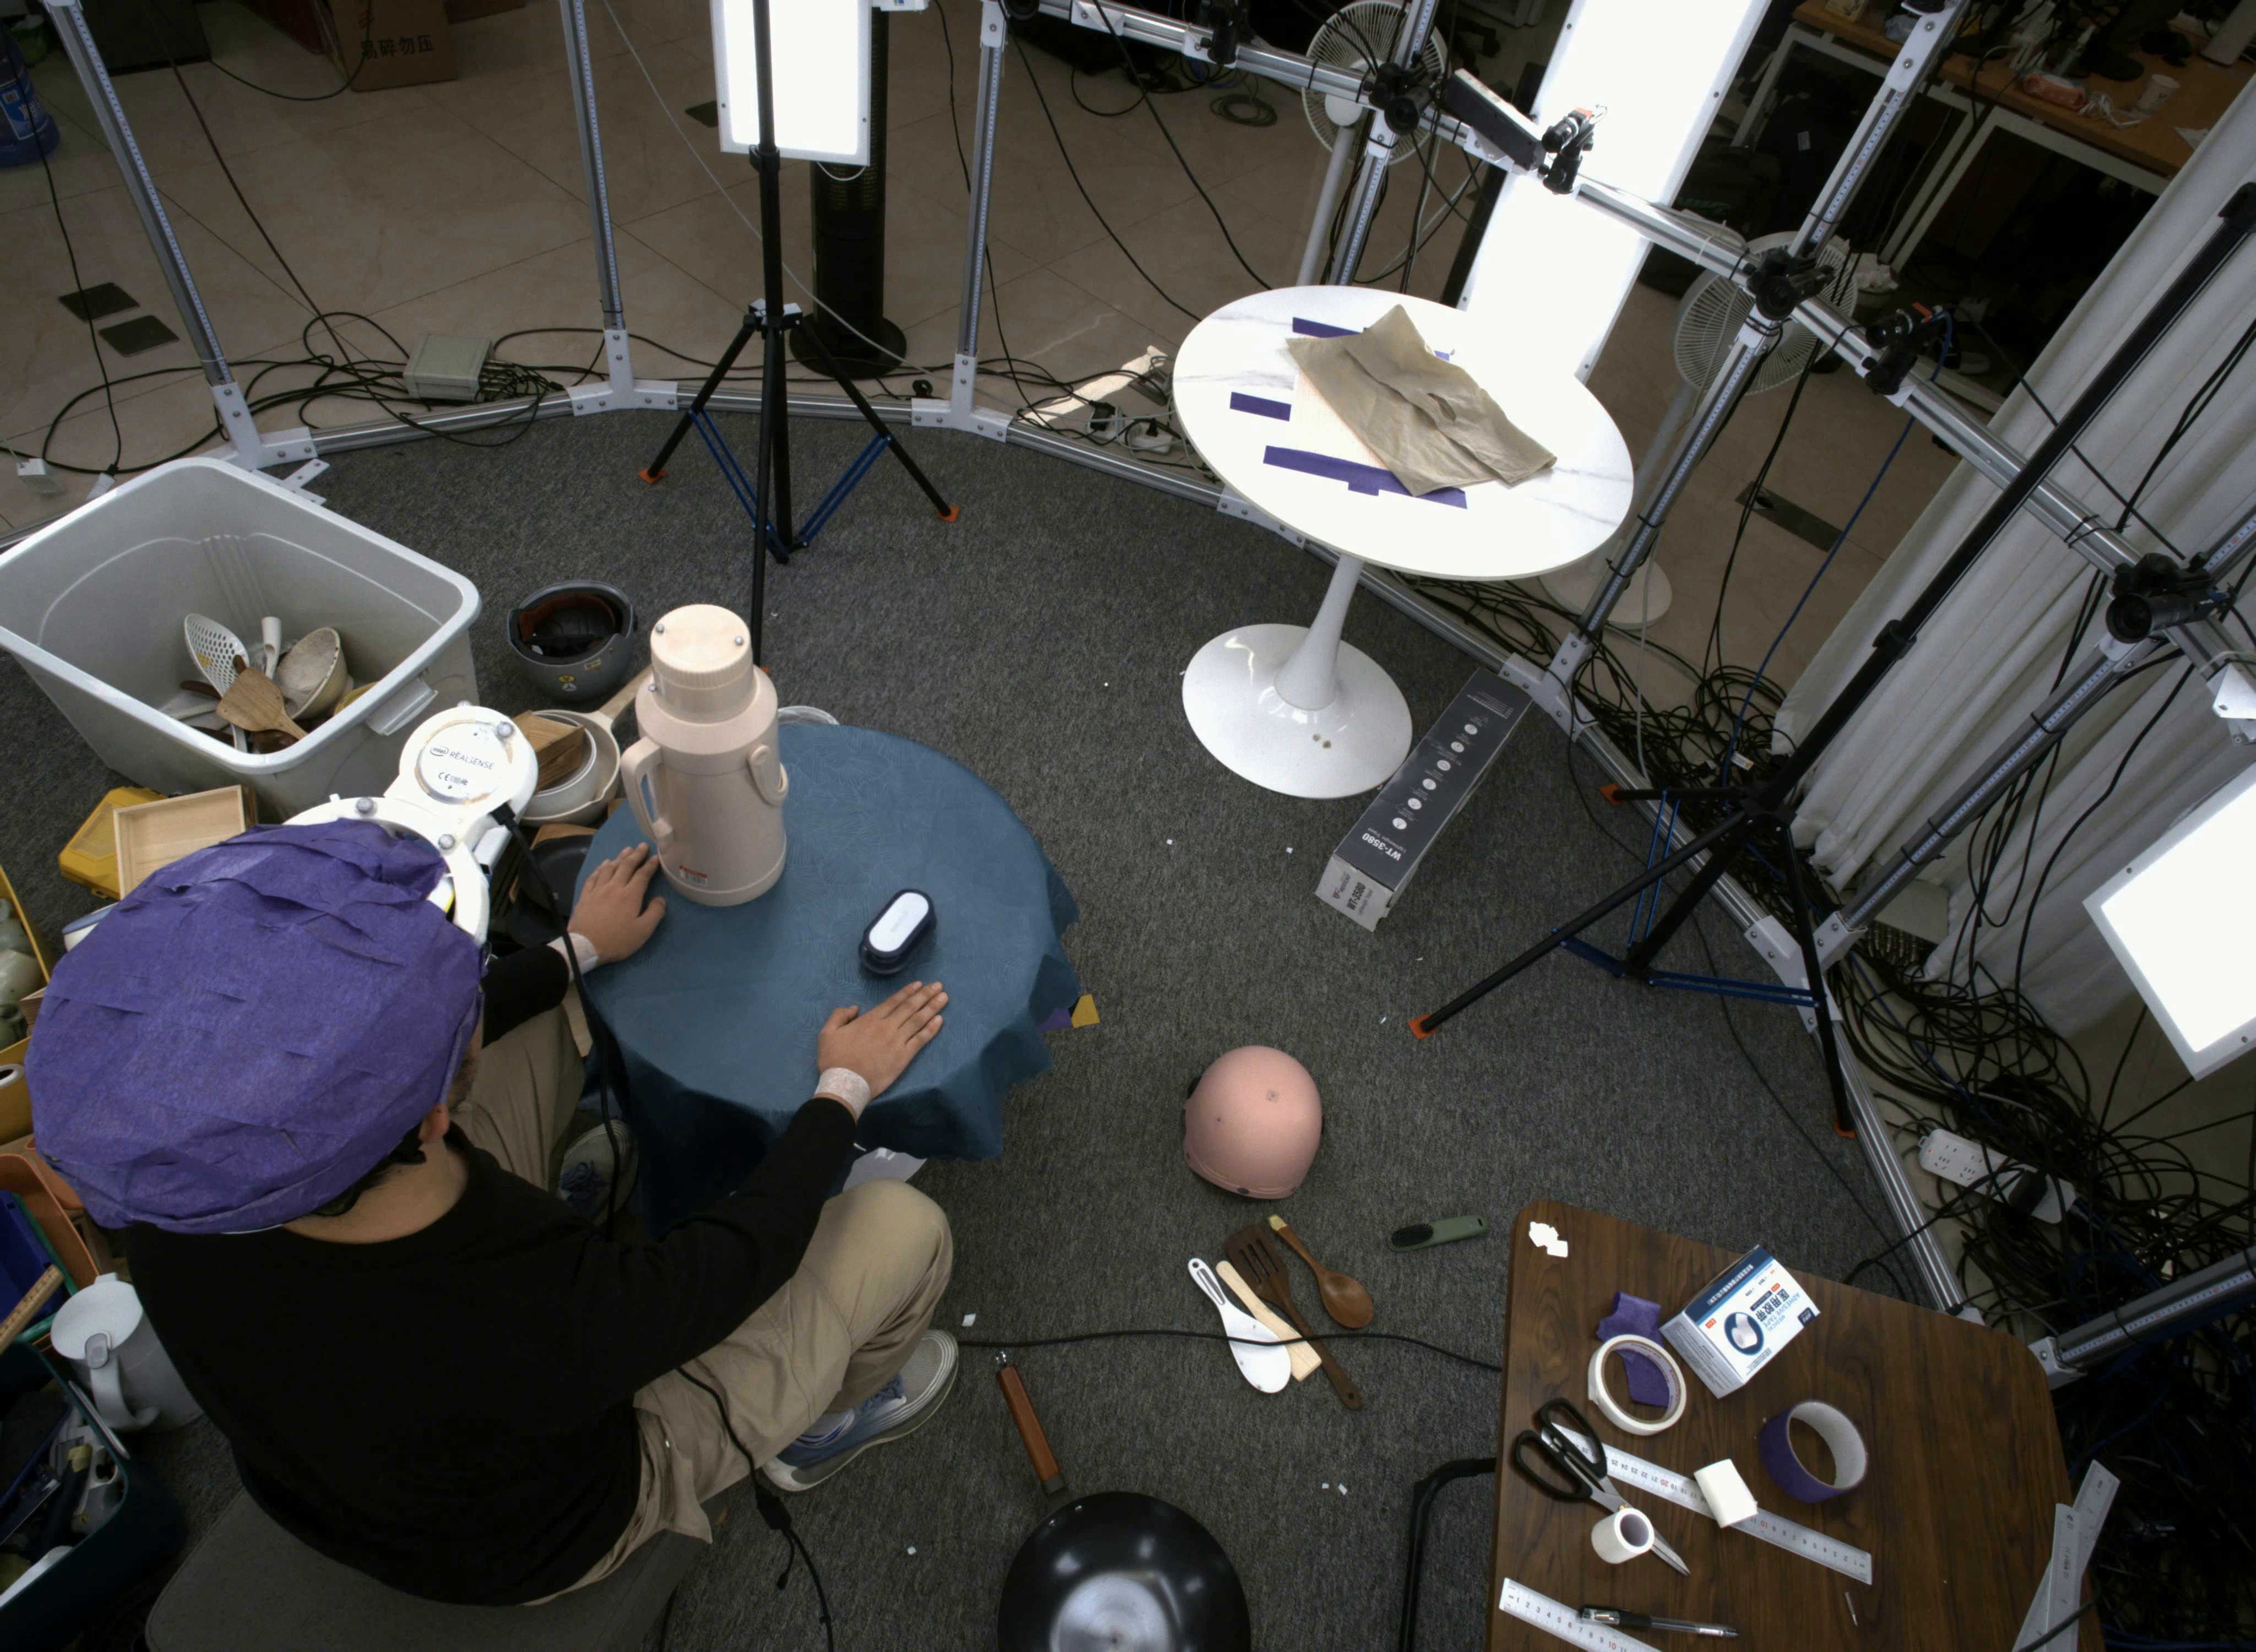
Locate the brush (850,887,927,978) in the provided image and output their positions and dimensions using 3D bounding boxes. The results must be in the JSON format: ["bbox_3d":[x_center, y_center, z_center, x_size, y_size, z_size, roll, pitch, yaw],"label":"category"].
[{"bbox_3d":[-0.298,0.132,1.619,0.067,0.062,0.121,29,51,10],"label":"brush"}]

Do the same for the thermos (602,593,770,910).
[{"bbox_3d":[-0.517,-0.076,1.494,0.172,0.414,0.207,34,53,13],"label":"thermos"}]
